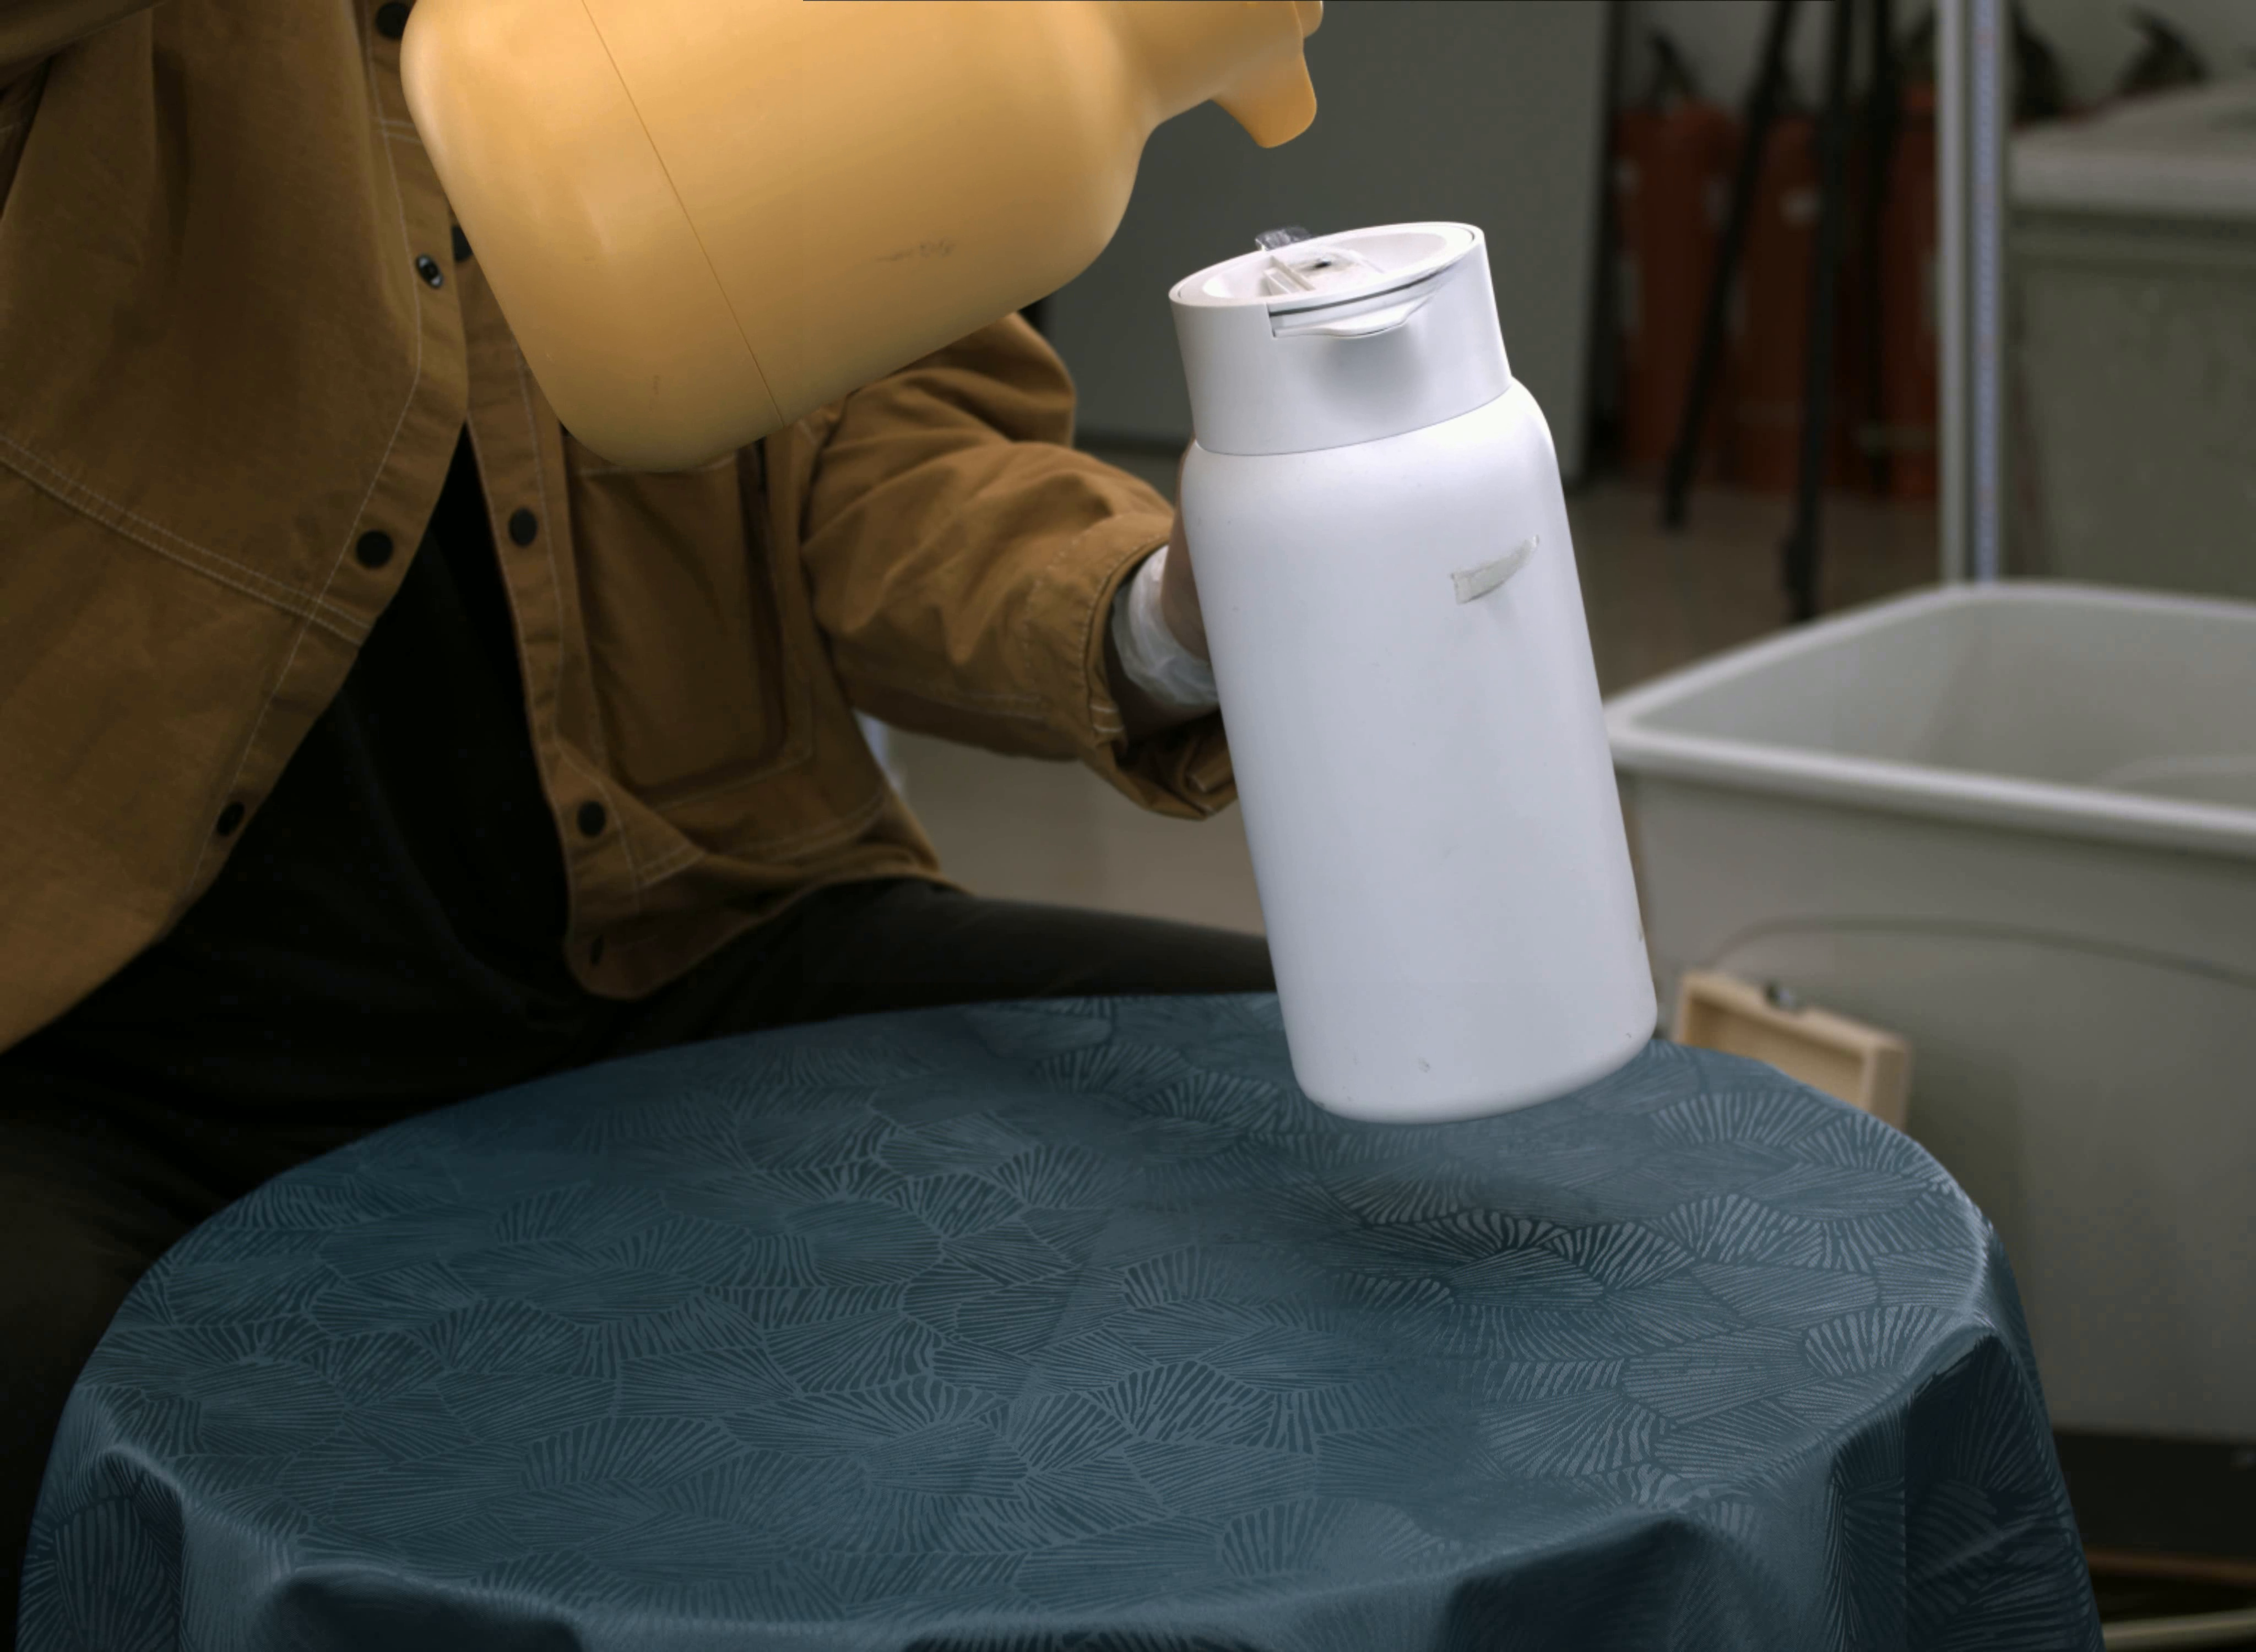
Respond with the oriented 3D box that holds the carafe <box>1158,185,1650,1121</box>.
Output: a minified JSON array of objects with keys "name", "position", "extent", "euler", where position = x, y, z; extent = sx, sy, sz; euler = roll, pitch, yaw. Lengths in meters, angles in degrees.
[{"name":"carafe","position":[0.079,-0.056,1.681],"extent":[0.122,0.271,0.174],"euler":[-16,15,-5]}]

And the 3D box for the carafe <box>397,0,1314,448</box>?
[{"name":"carafe","position":[-0.080,-0.244,1.564],"extent":[0.257,0.203,0.165],"euler":[-26,26,-6]}]
